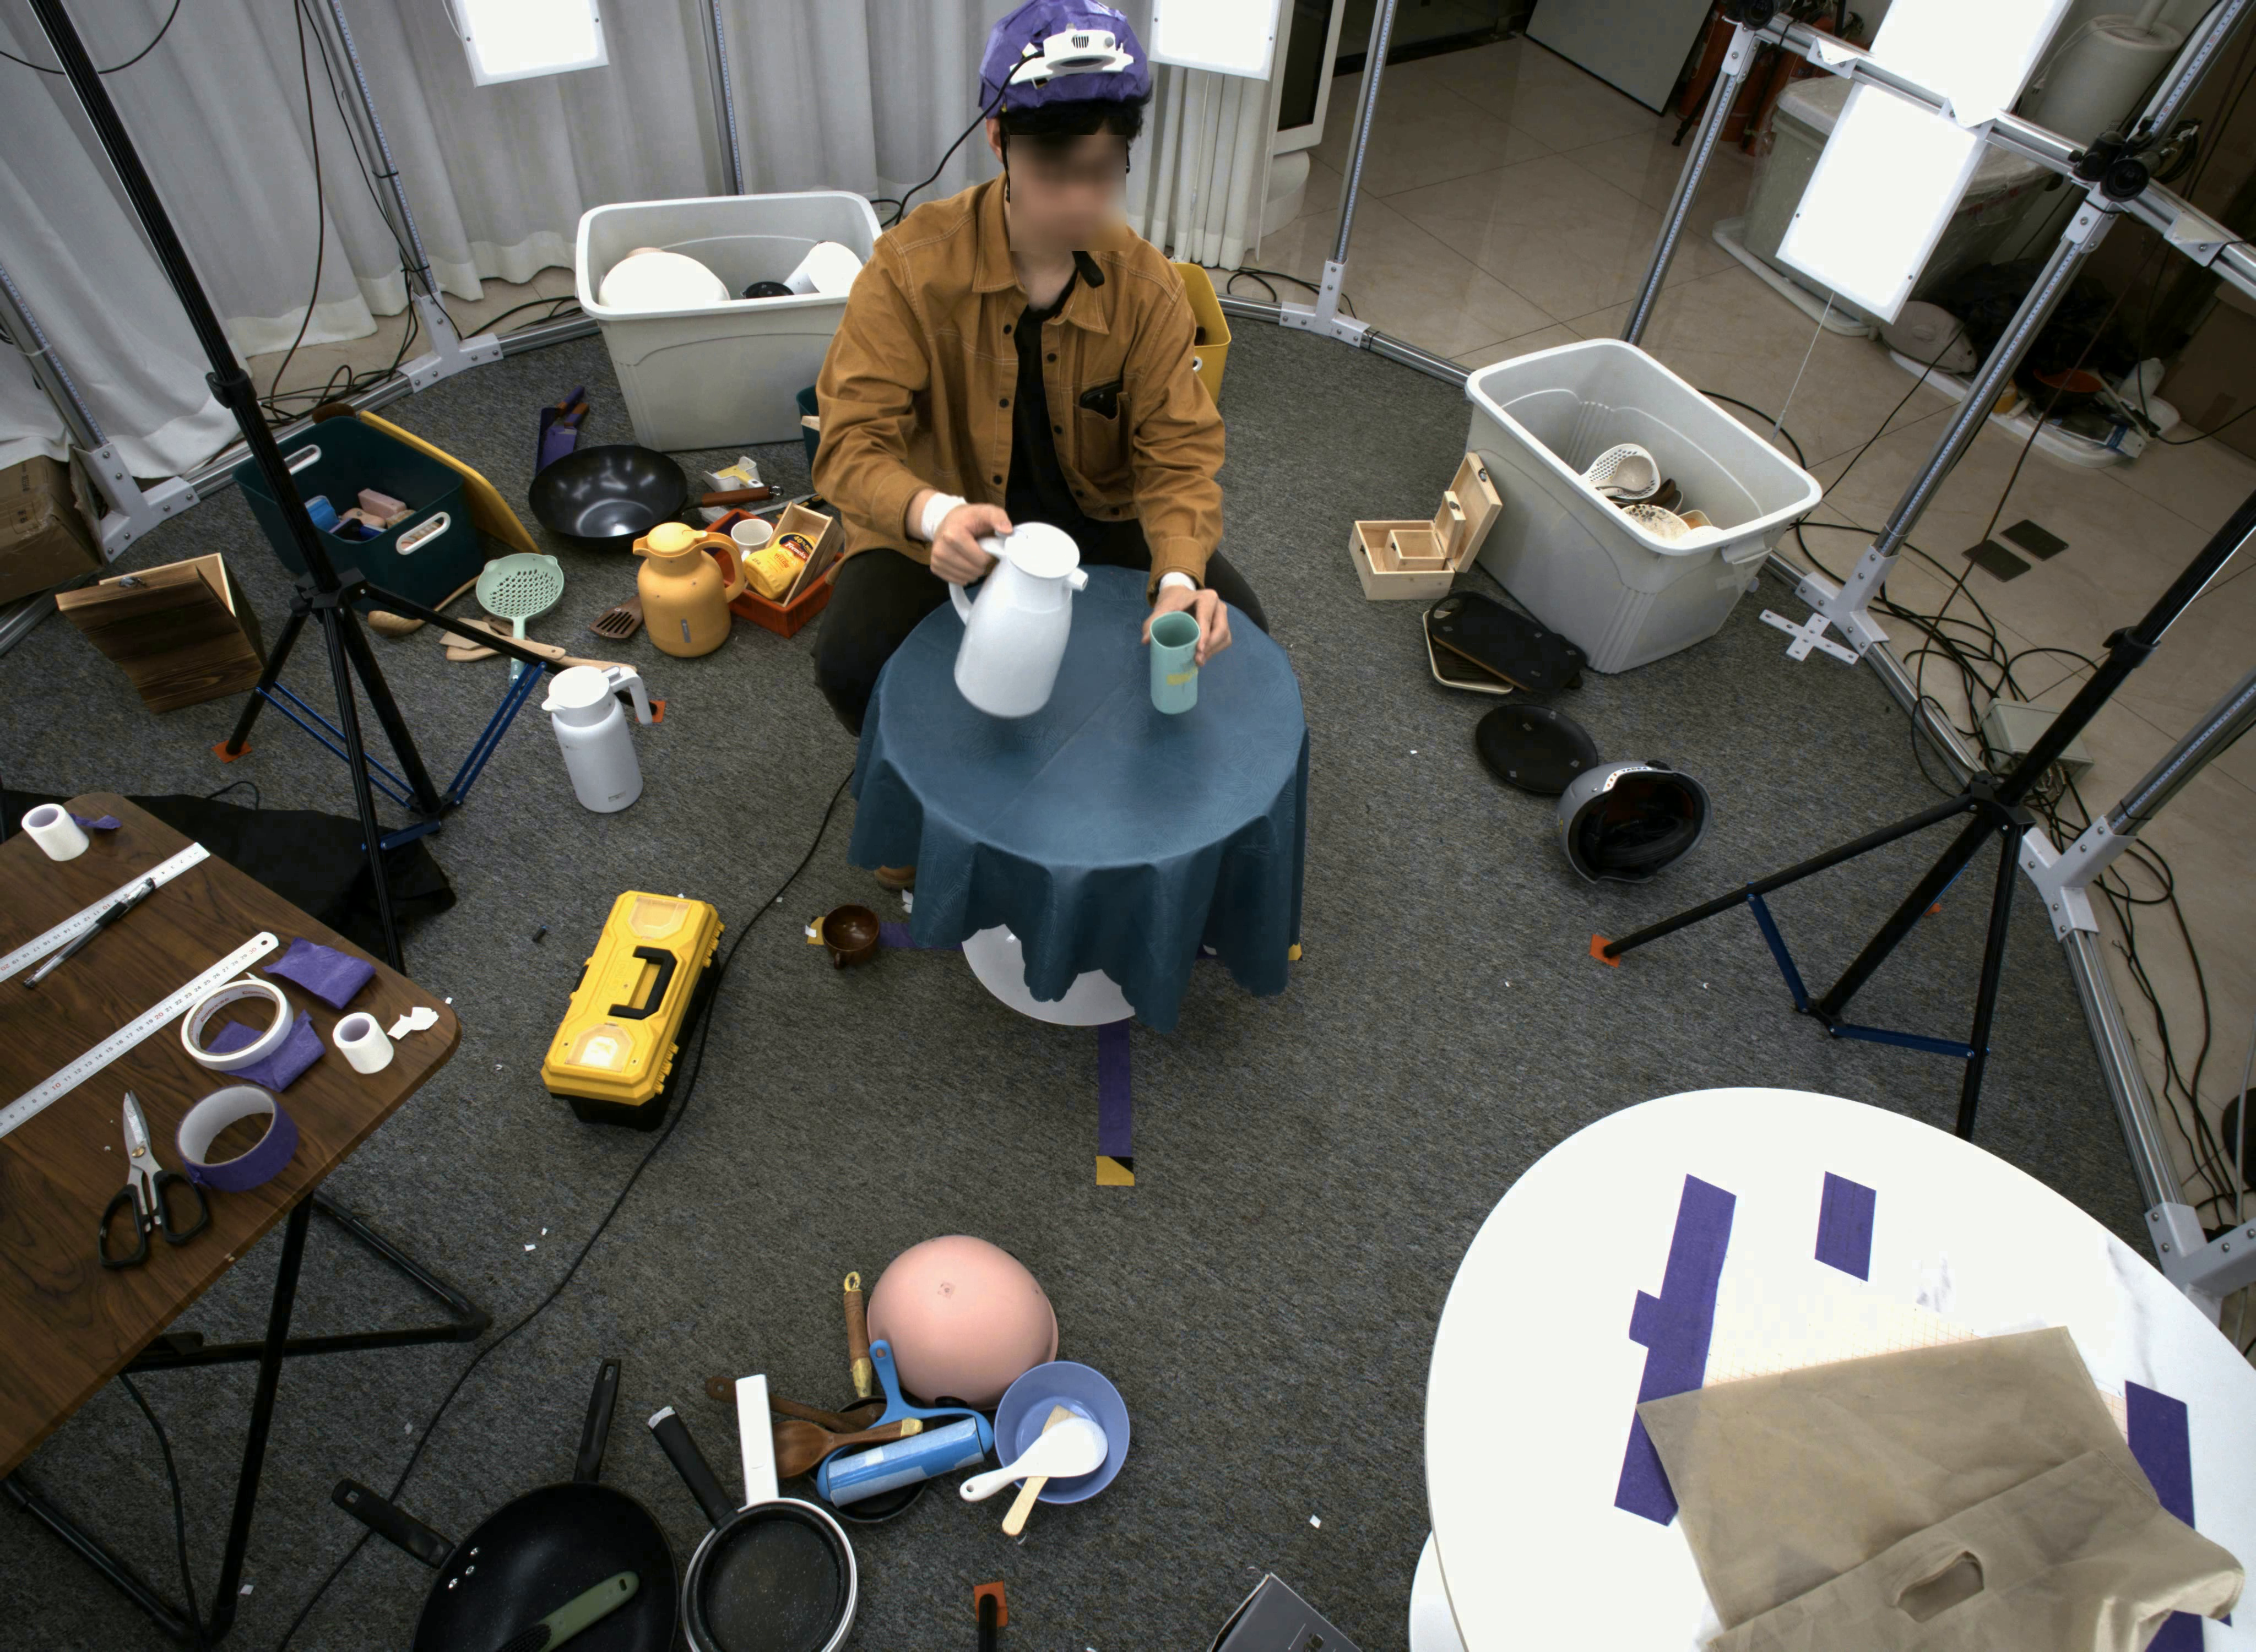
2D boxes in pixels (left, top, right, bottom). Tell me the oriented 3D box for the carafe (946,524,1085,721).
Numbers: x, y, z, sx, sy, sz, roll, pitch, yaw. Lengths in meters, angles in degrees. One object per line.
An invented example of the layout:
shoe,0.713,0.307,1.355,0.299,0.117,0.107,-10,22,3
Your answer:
carafe,-0.153,-0.267,1.618,0.168,0.243,0.135,25,51,2

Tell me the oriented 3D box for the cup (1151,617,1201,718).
cup,0.062,-0.211,1.705,0.067,0.129,0.068,0,54,0
